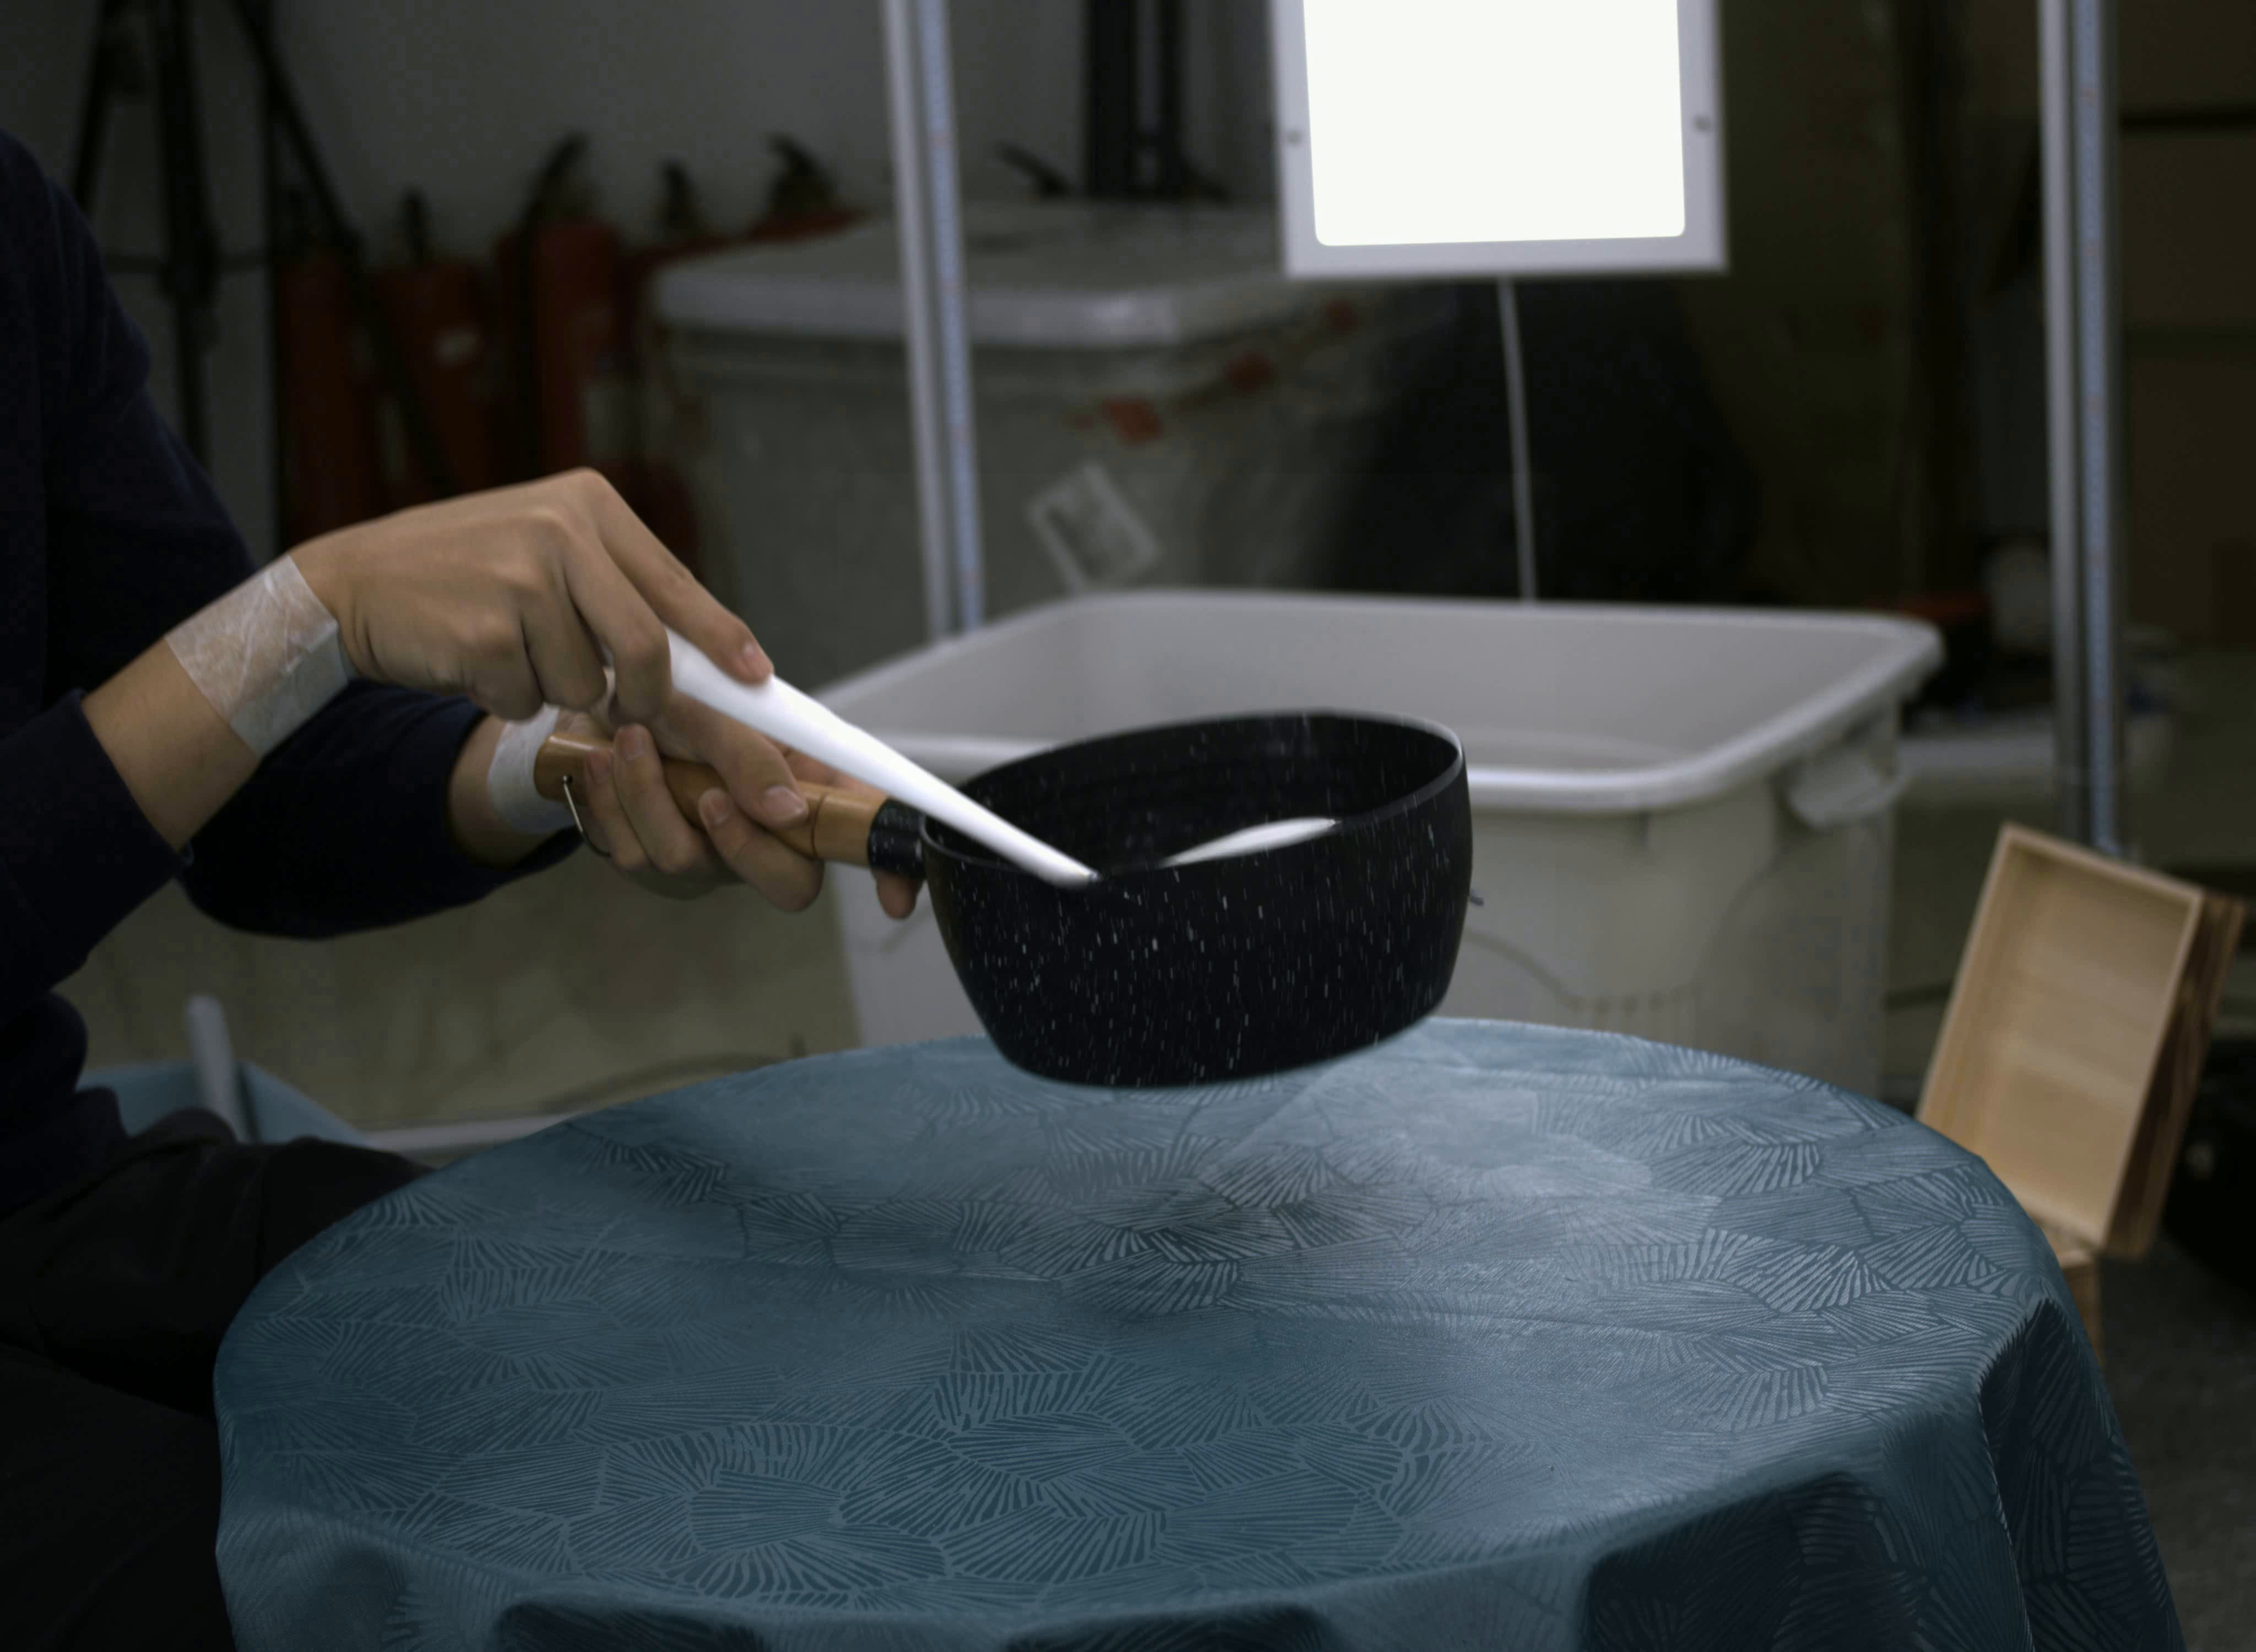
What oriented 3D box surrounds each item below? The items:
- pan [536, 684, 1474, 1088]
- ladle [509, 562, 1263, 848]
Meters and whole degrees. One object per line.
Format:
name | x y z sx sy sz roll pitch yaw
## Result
pan | -0.047 0.014 1.868 0.348 0.108 0.203 -1 17 26
ladle | -0.064 -0.028 1.831 0.293 0.071 0.089 26 32 5
